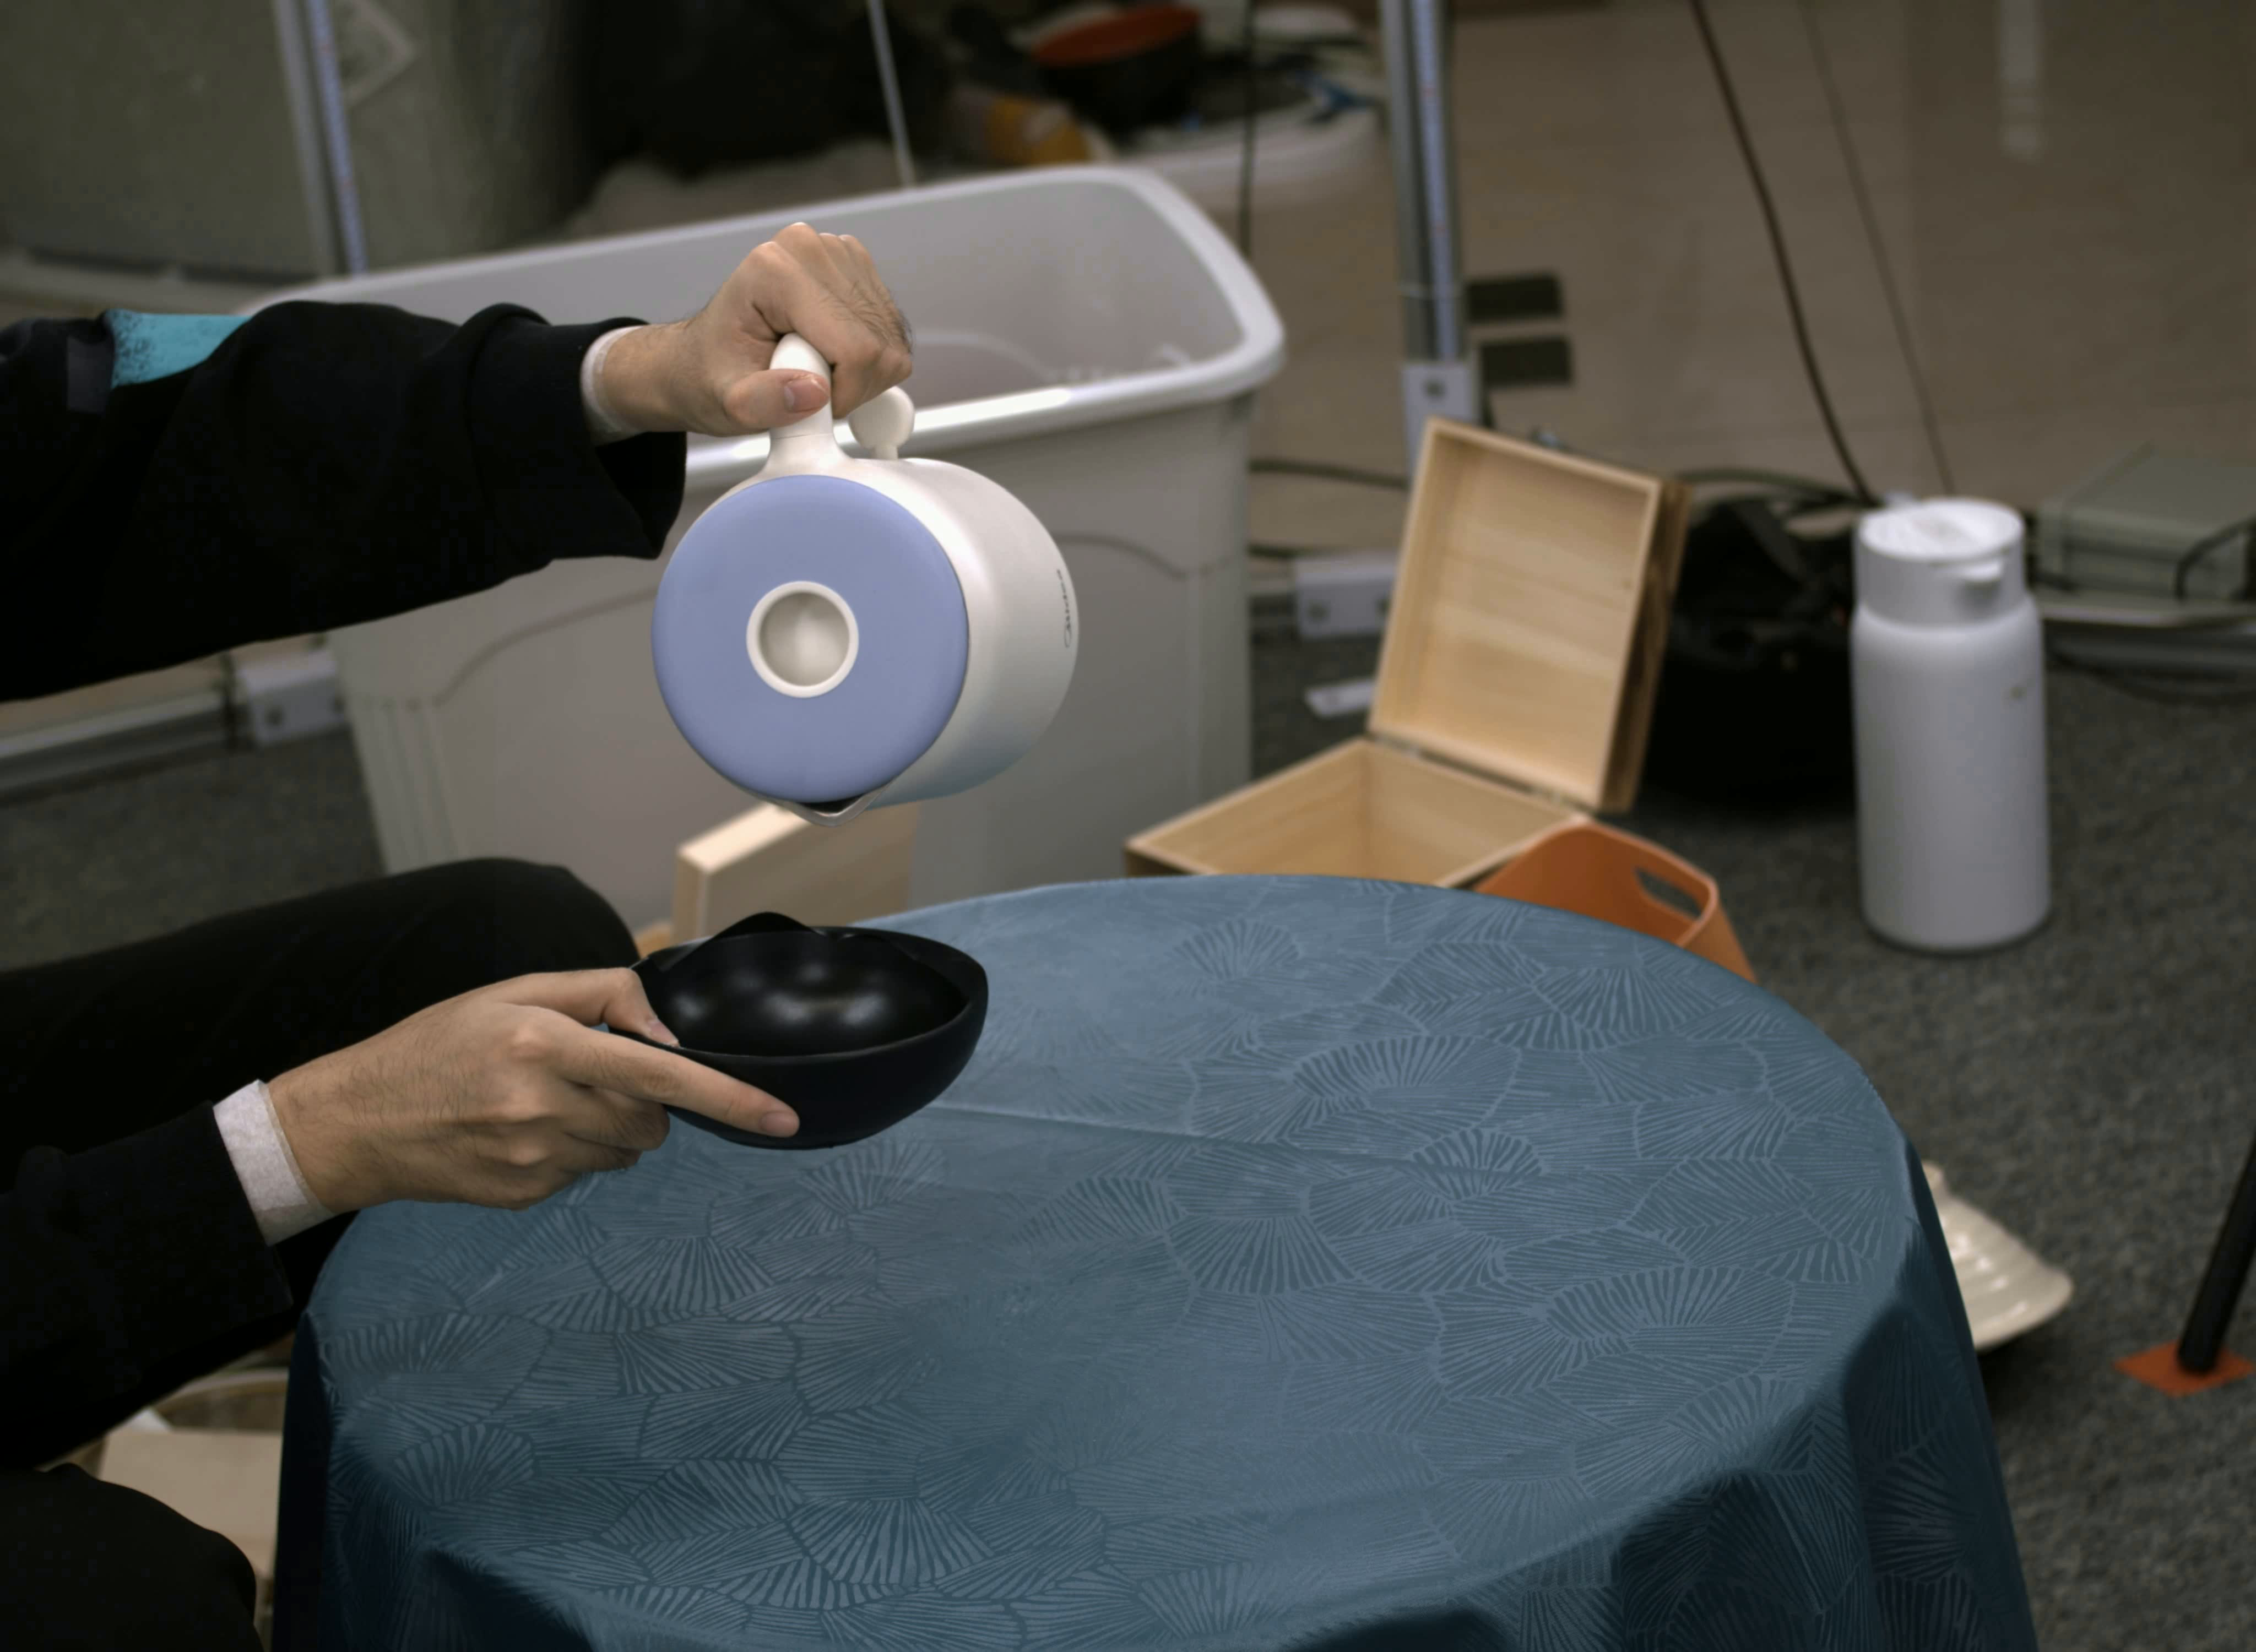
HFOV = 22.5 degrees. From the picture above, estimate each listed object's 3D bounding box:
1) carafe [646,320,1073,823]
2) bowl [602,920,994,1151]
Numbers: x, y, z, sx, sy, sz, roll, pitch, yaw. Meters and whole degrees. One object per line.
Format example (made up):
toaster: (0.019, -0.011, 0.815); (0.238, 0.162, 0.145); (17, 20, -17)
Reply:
carafe: (-0.103, -0.096, 2.110); (0.132, 0.191, 0.182); (-8, 0, 11)
bowl: (-0.117, 0.080, 2.030); (0.140, 0.050, 0.138); (-3, 20, 1)
